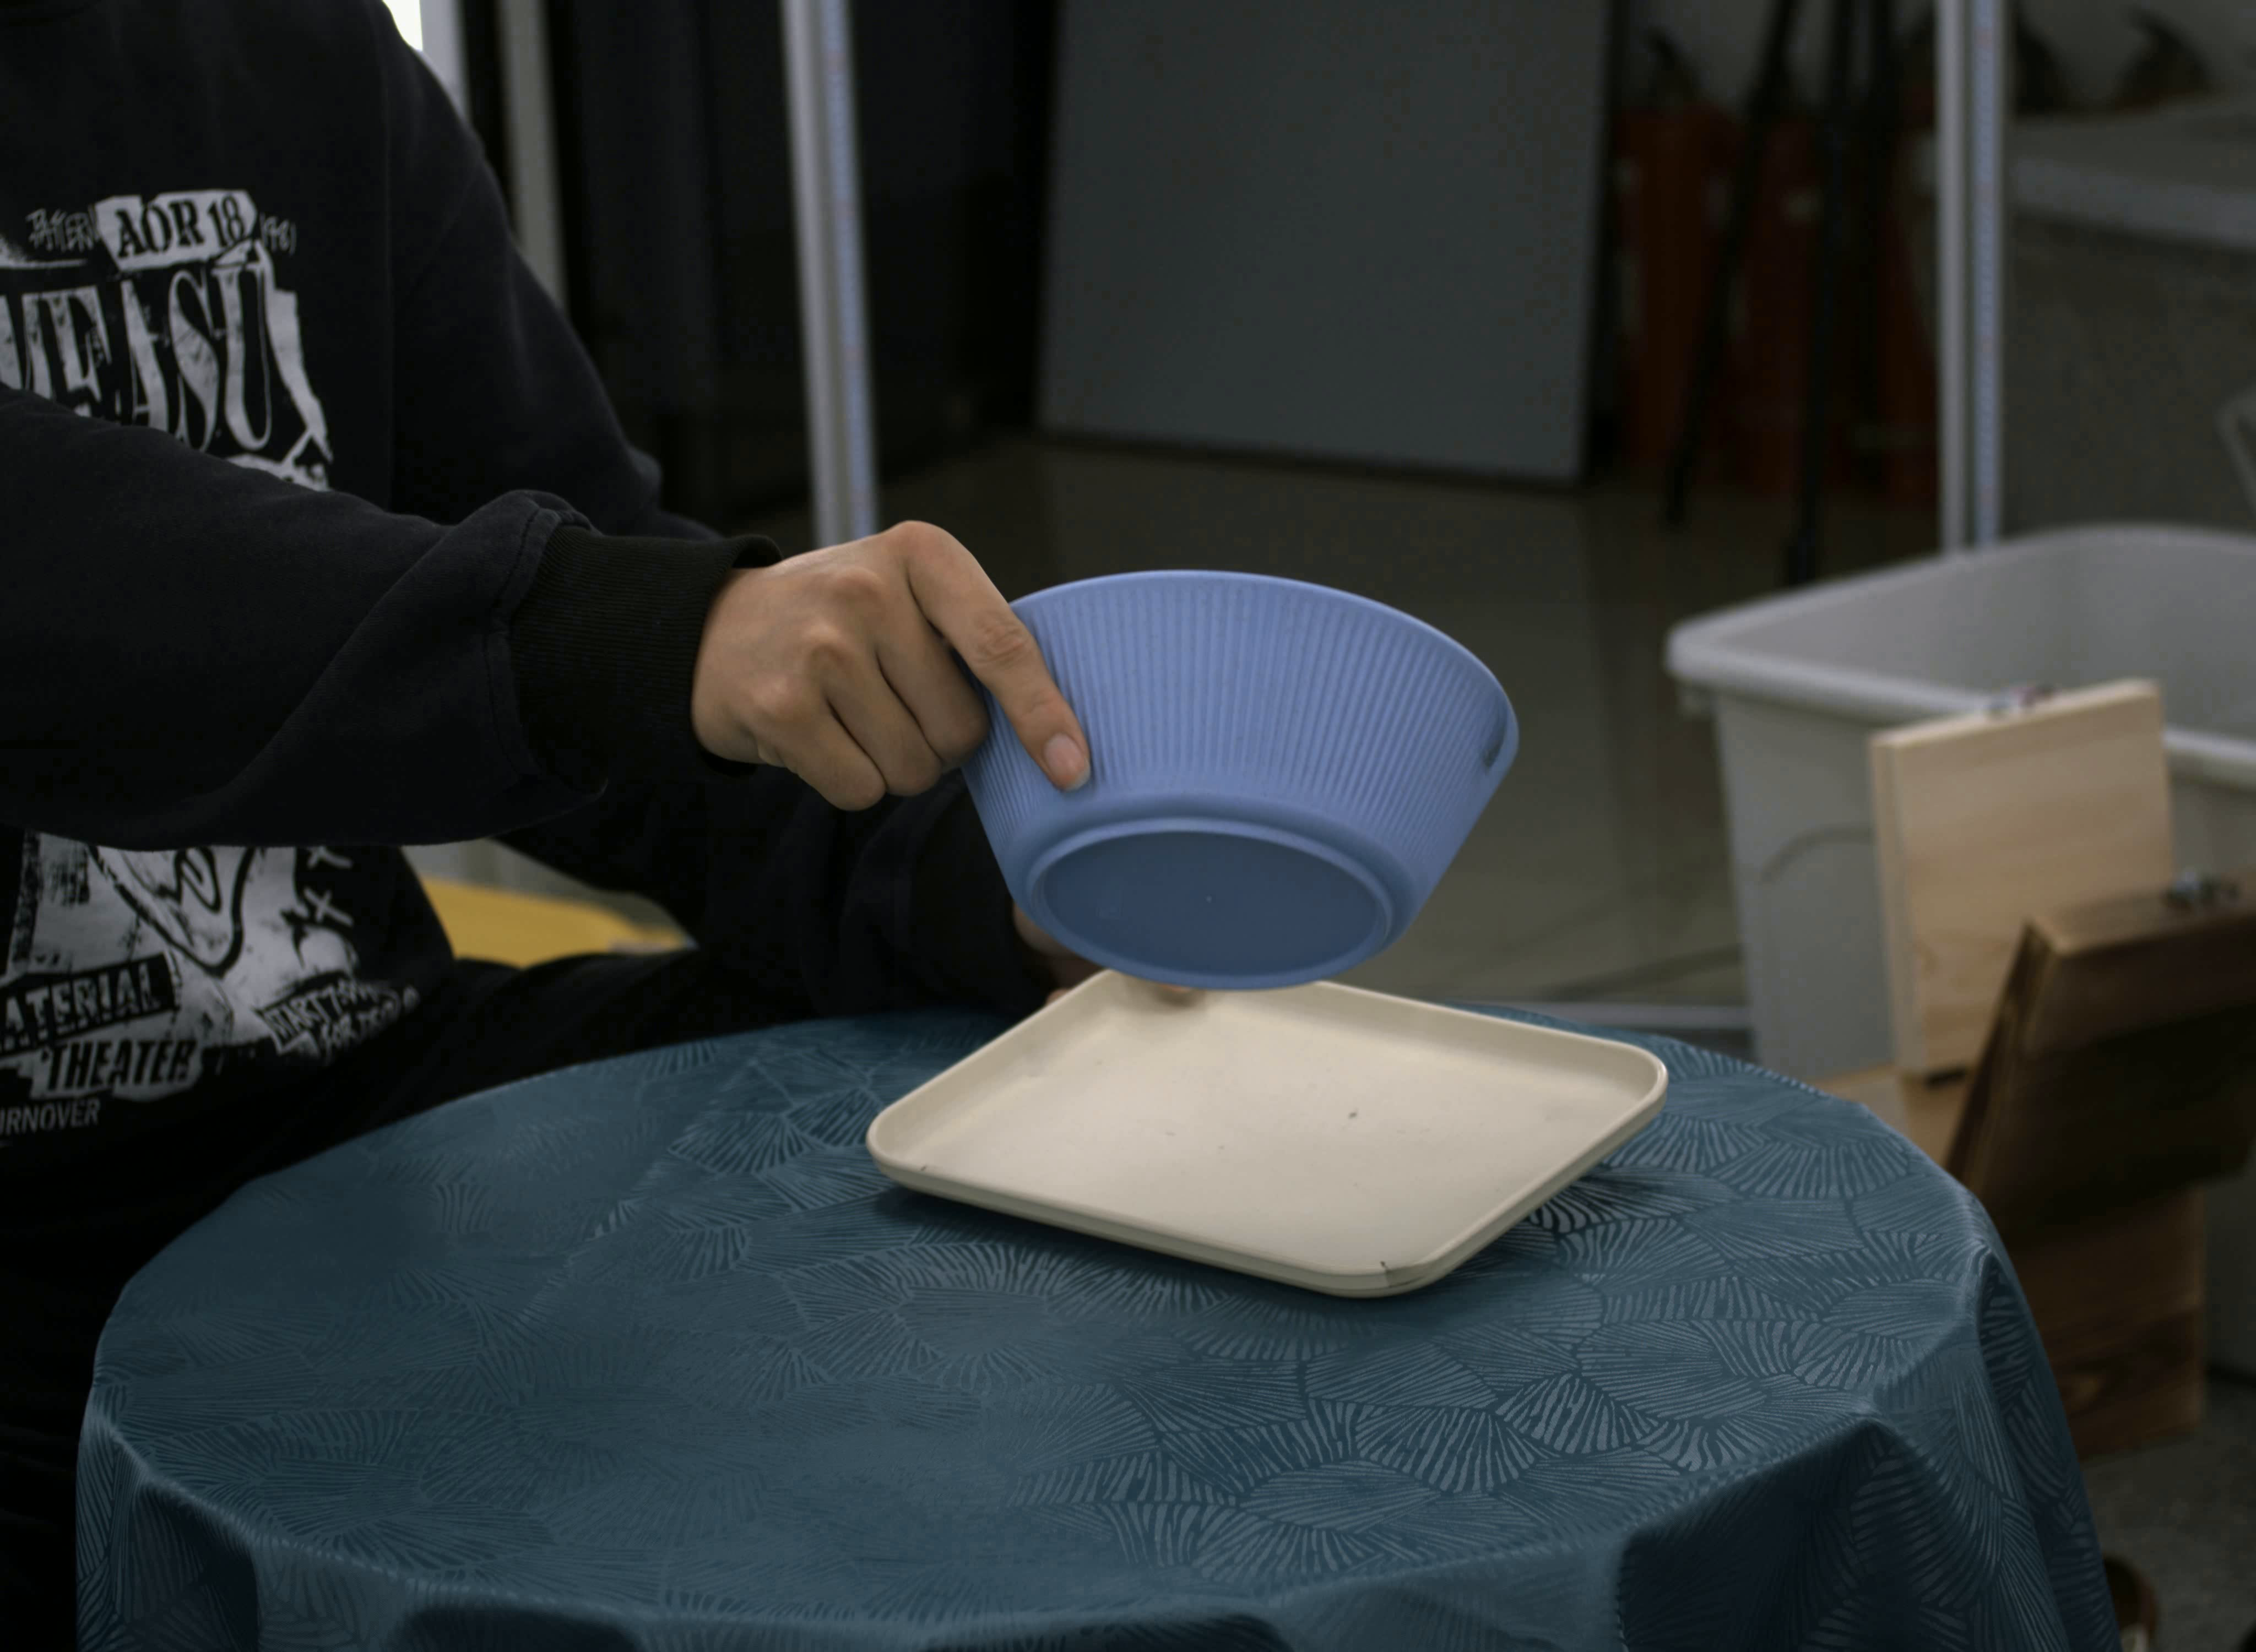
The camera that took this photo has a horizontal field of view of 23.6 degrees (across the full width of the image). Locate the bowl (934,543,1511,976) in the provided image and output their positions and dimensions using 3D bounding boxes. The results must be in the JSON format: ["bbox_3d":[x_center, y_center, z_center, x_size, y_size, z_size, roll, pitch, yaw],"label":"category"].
[{"bbox_3d":[0.026,-0.011,1.598,0.174,0.071,0.176,5,-28,2],"label":"bowl"}]

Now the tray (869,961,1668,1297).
[{"bbox_3d":[0.045,0.098,1.760,0.241,0.017,0.168,10,29,40],"label":"tray"}]
